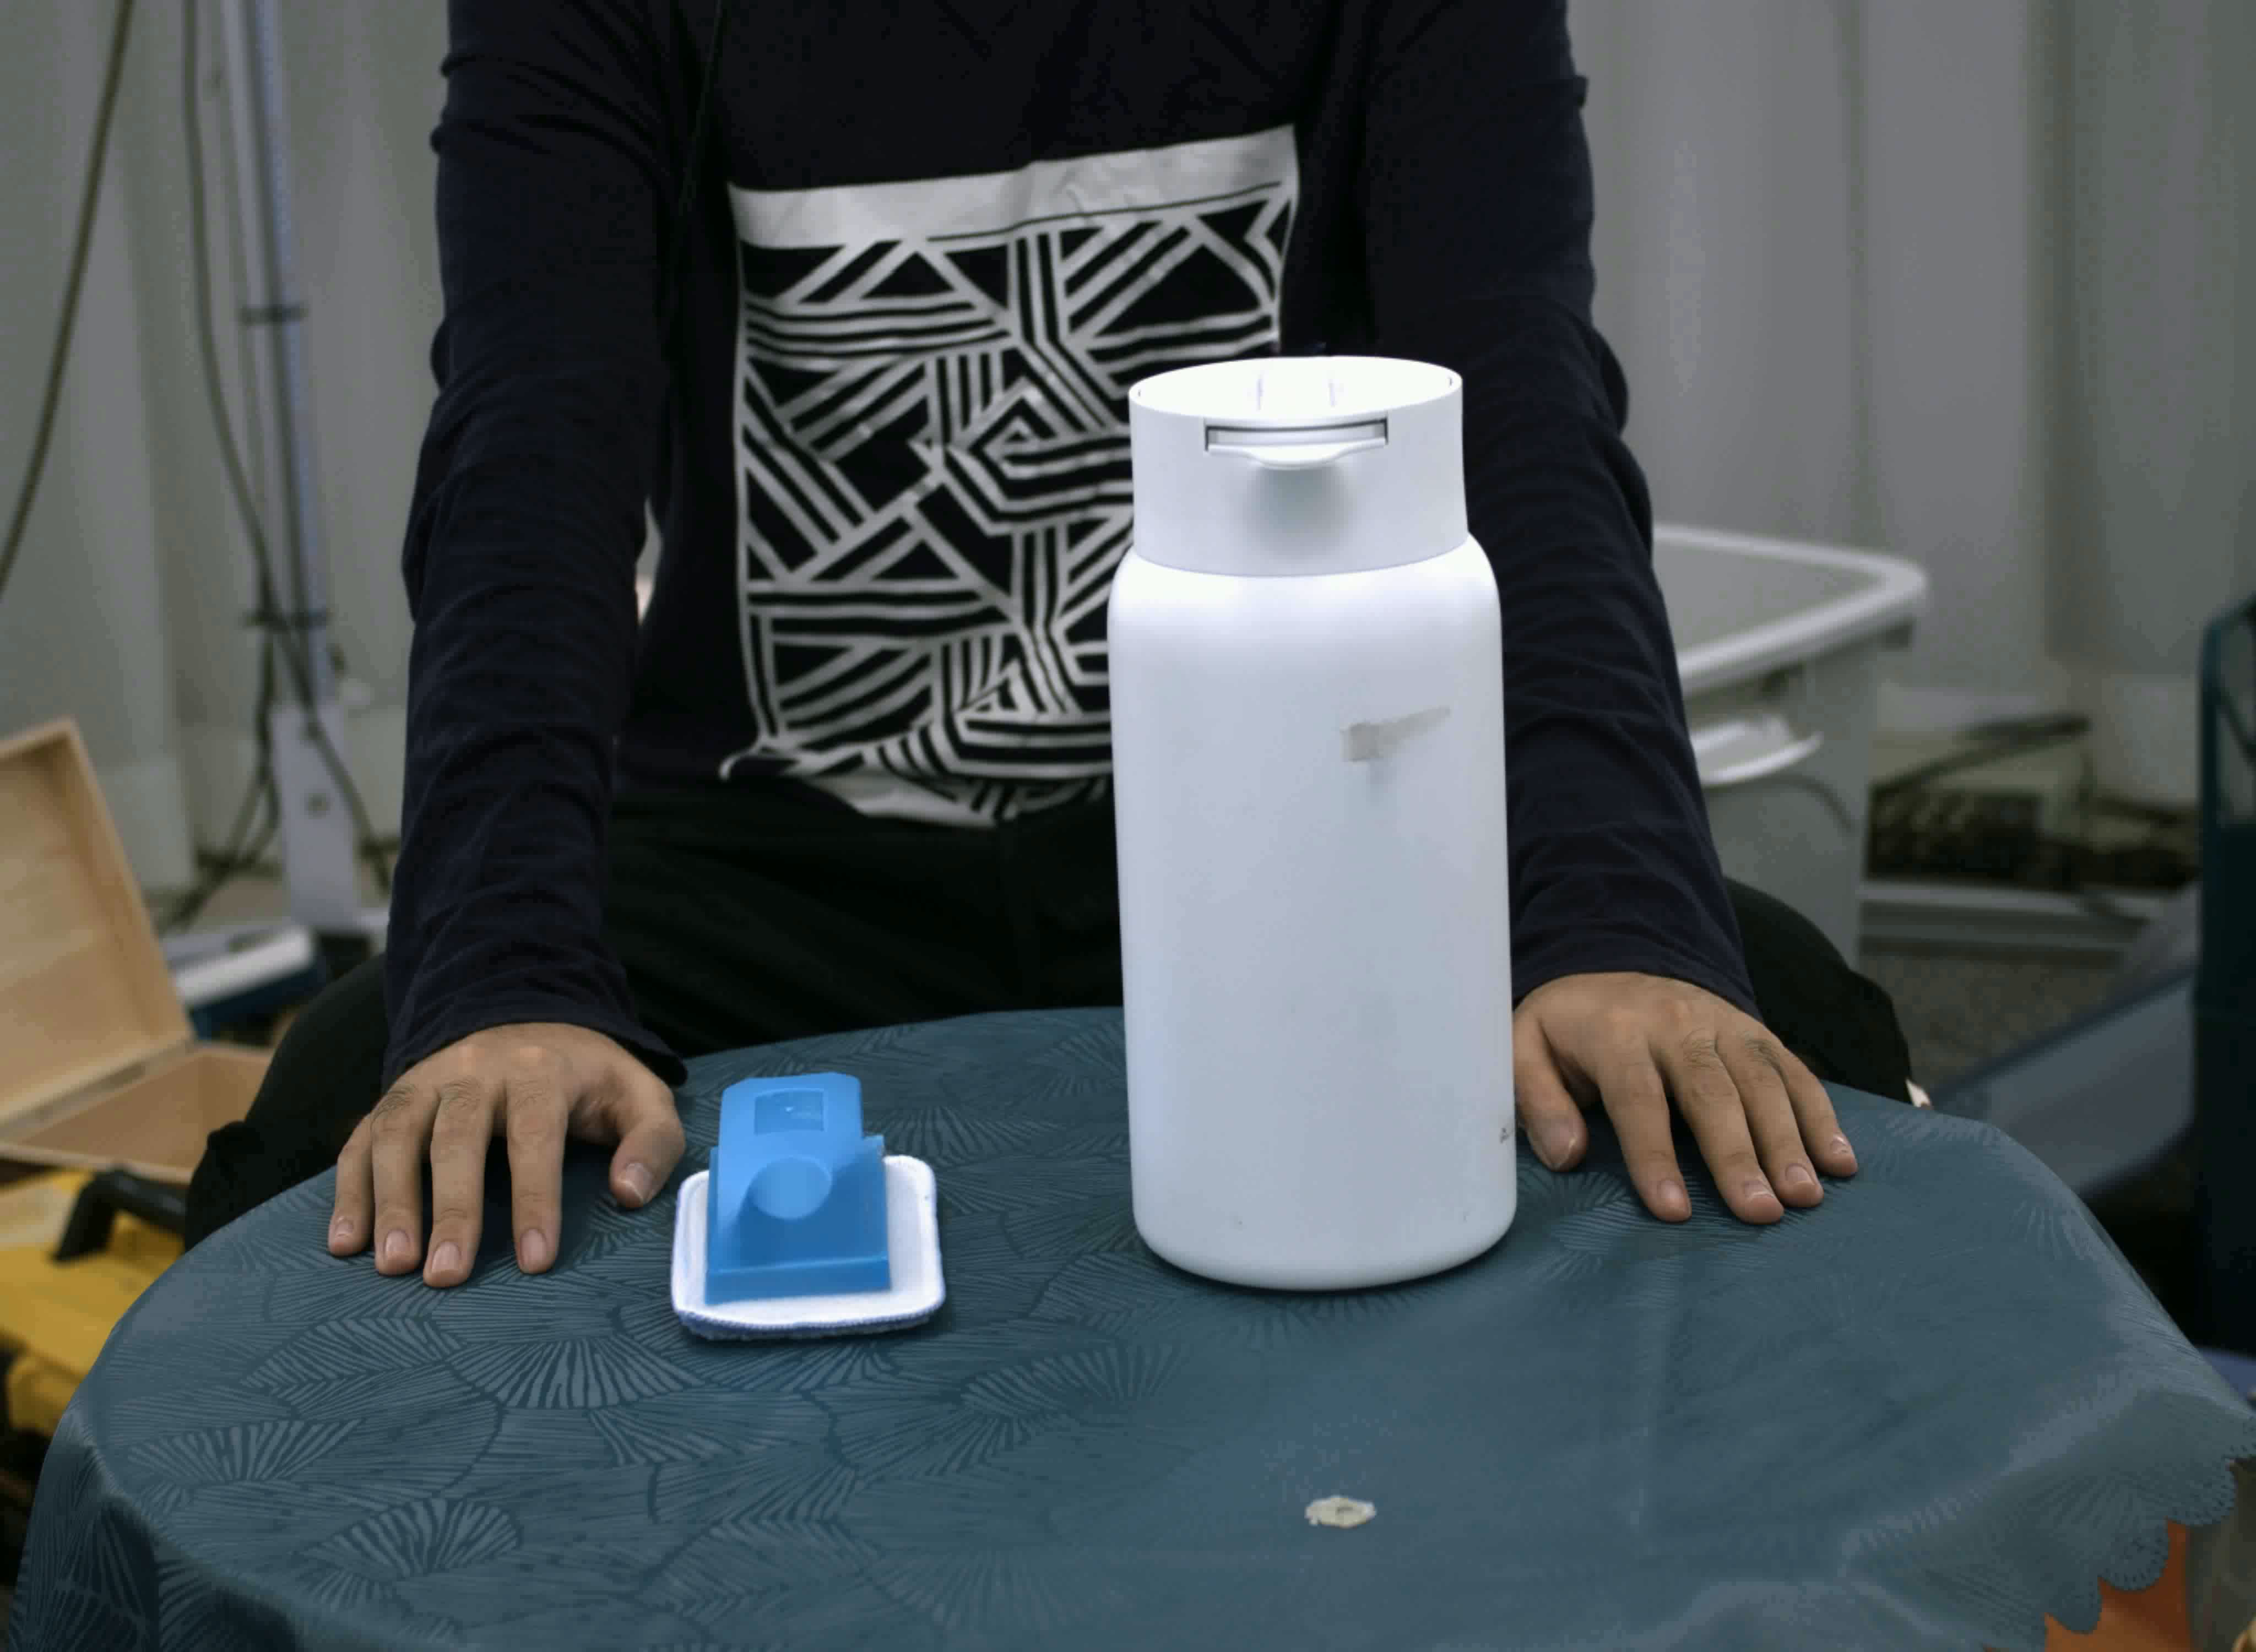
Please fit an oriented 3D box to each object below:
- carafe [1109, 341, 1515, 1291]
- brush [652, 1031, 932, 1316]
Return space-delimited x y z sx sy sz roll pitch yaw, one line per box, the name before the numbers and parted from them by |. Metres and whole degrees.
carafe | 0.053 -0.008 1.650 0.123 0.268 0.174 -4 13 1
brush | -0.102 0.102 1.659 0.083 0.055 0.145 -1 18 -1
